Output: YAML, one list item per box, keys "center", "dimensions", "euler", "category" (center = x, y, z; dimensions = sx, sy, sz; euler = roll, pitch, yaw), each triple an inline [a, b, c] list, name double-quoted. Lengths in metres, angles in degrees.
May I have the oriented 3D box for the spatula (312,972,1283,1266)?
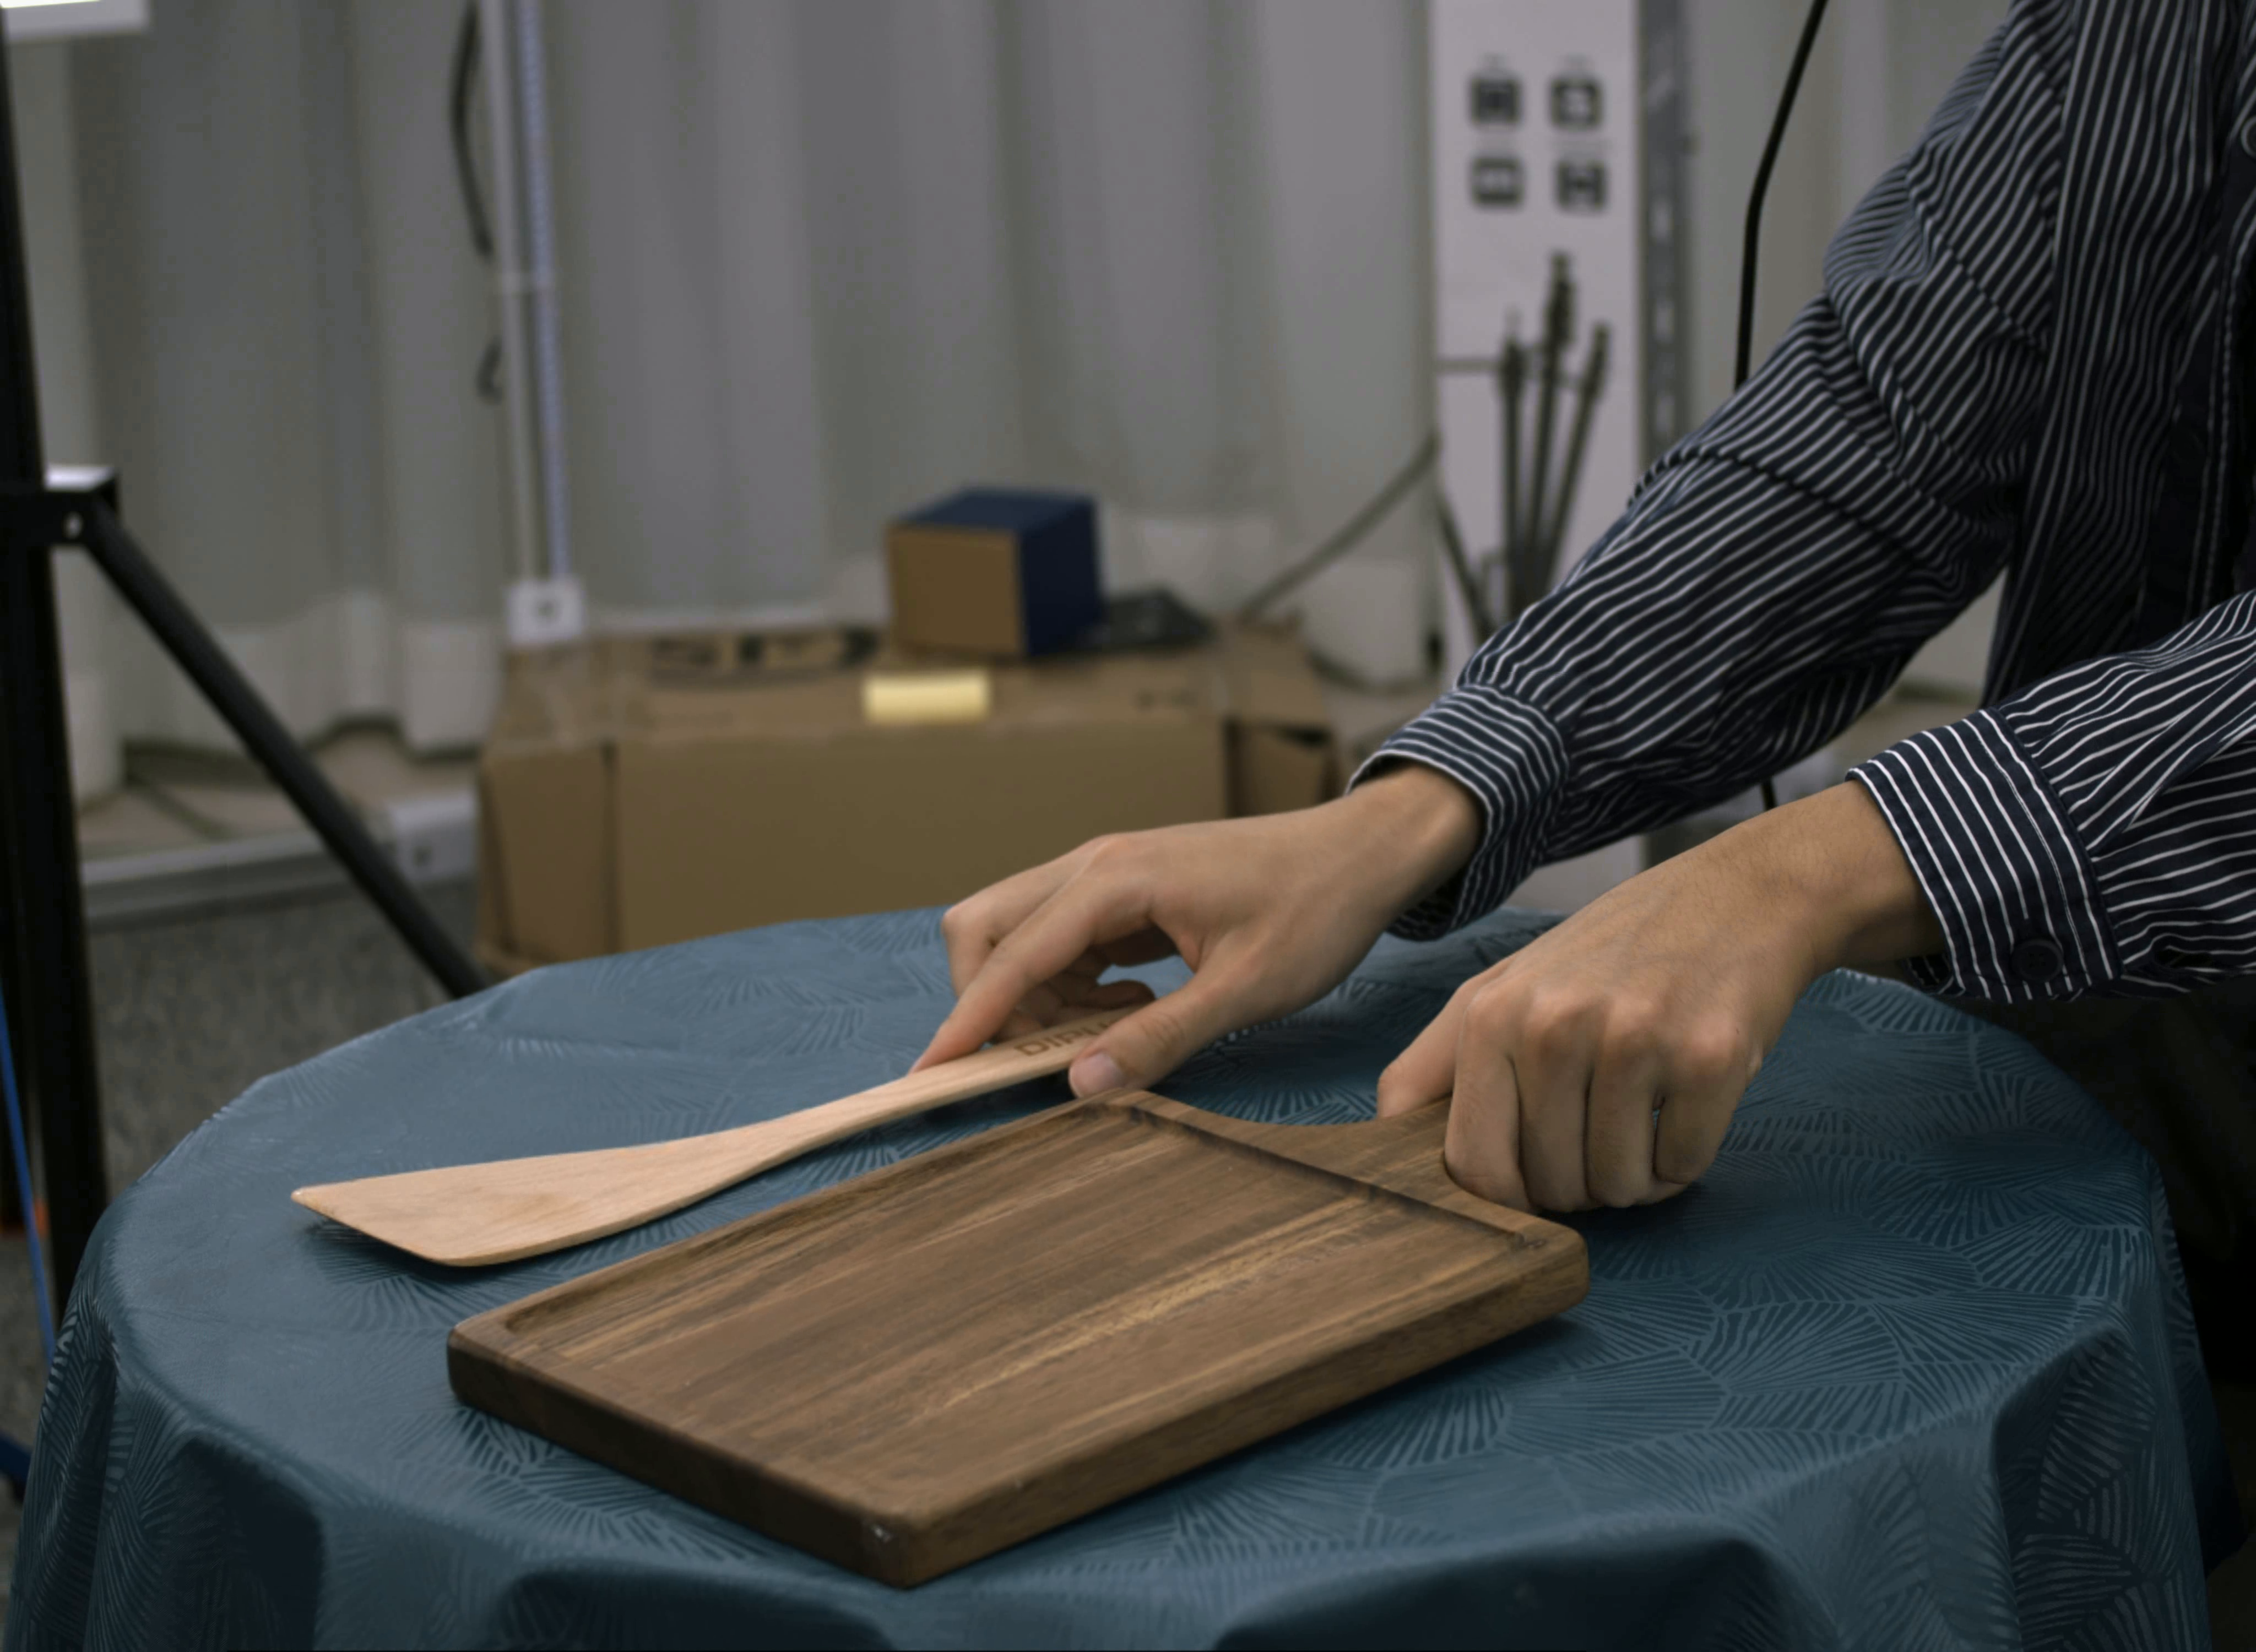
- center: [-0.086, 0.085, 1.617]
  dimensions: [0.320, 0.016, 0.082]
  euler: [-16, 22, -30]
  category: "spatula"

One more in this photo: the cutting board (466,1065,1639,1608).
- center: [0.015, 0.123, 1.452]
  dimensions: [0.344, 0.023, 0.206]
  euler: [-17, 22, -37]
  category: "cutting board"
